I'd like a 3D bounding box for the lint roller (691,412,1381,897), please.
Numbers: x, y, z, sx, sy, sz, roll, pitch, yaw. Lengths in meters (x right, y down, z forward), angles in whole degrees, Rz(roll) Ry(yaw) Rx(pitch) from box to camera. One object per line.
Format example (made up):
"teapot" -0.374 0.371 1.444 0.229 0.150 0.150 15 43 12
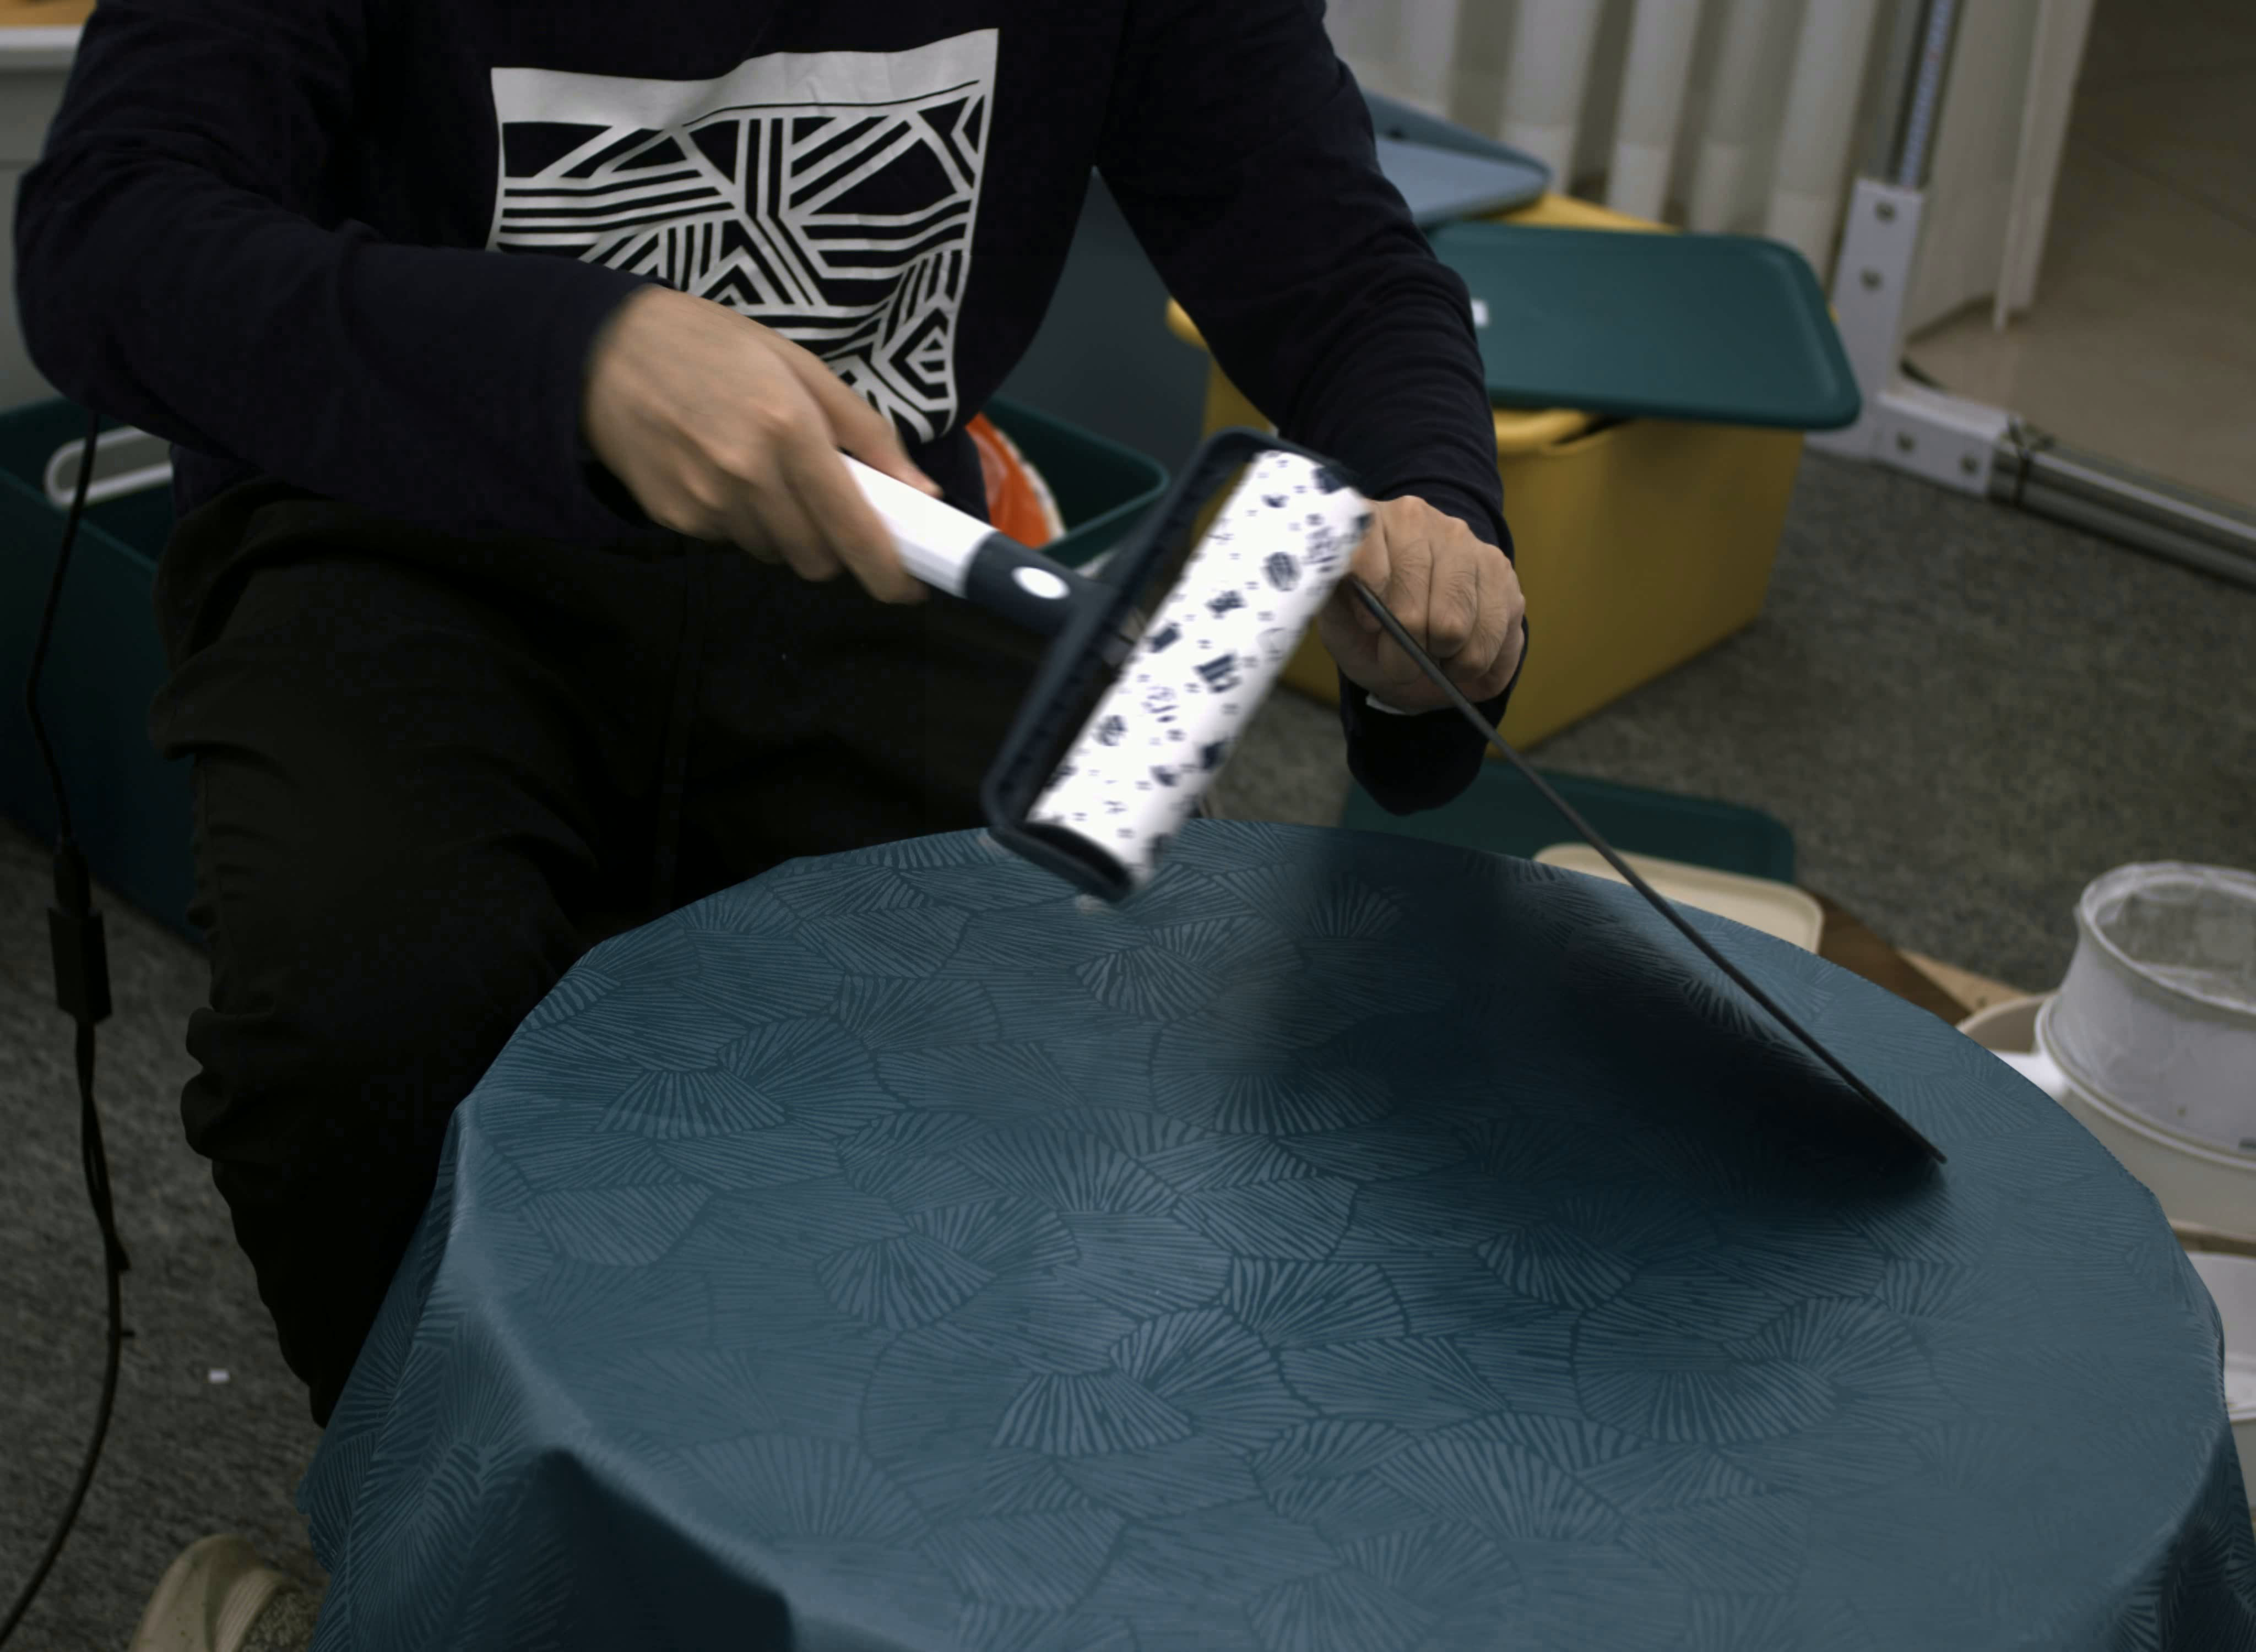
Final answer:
"lint roller" -0.054 -0.095 1.891 0.248 0.050 0.177 25 73 21

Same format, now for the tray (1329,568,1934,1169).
"tray" 0.164 -0.004 1.907 0.209 0.010 0.328 40 6 -44
